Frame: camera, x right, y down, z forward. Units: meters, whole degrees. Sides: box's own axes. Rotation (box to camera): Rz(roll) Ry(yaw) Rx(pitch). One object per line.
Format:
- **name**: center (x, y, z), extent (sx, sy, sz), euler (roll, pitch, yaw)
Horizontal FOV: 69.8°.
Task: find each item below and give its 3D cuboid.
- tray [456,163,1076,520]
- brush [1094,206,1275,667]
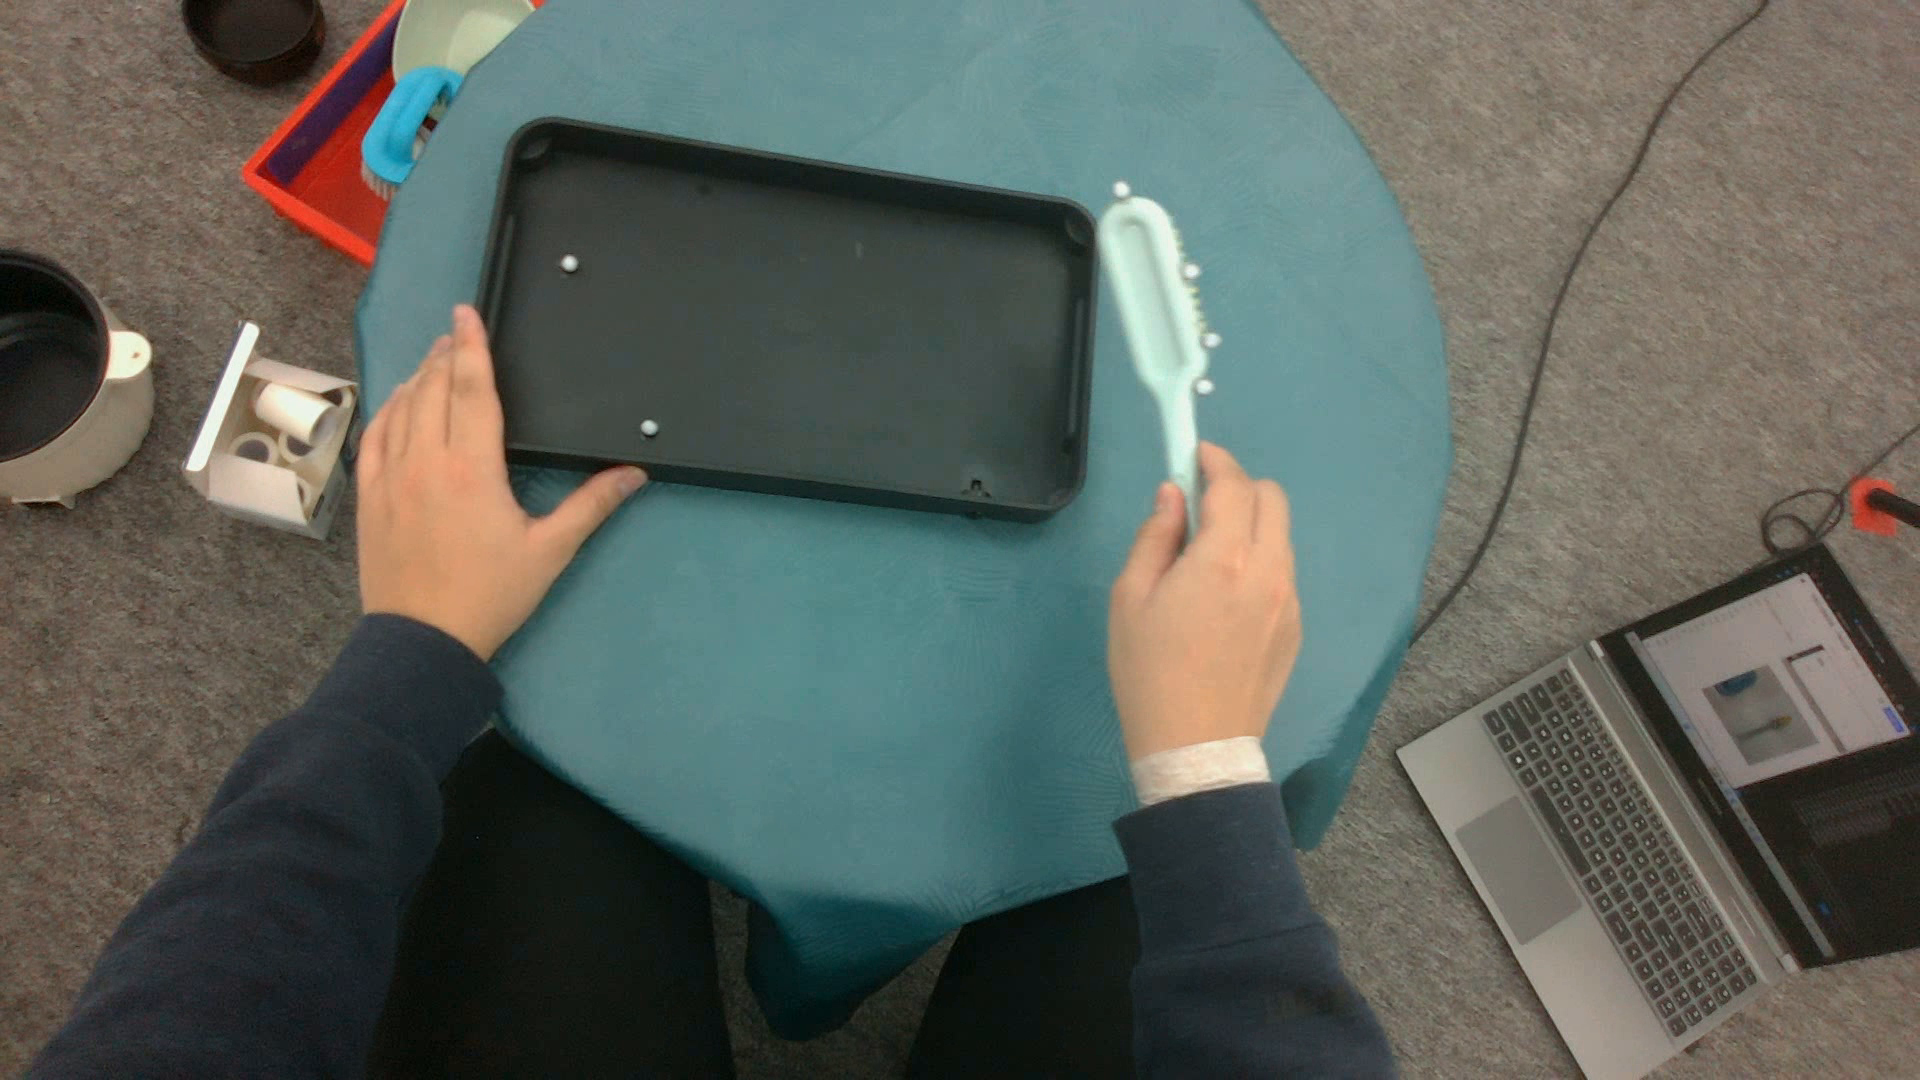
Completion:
- **tray**: center (-0.098, -0.105, 0.745), extent (0.318, 0.037, 0.185), euler (2, 74, -8)
- **brush**: center (0.114, -0.052, 0.668), extent (0.037, 0.050, 0.229), euler (-20, 81, 28)
